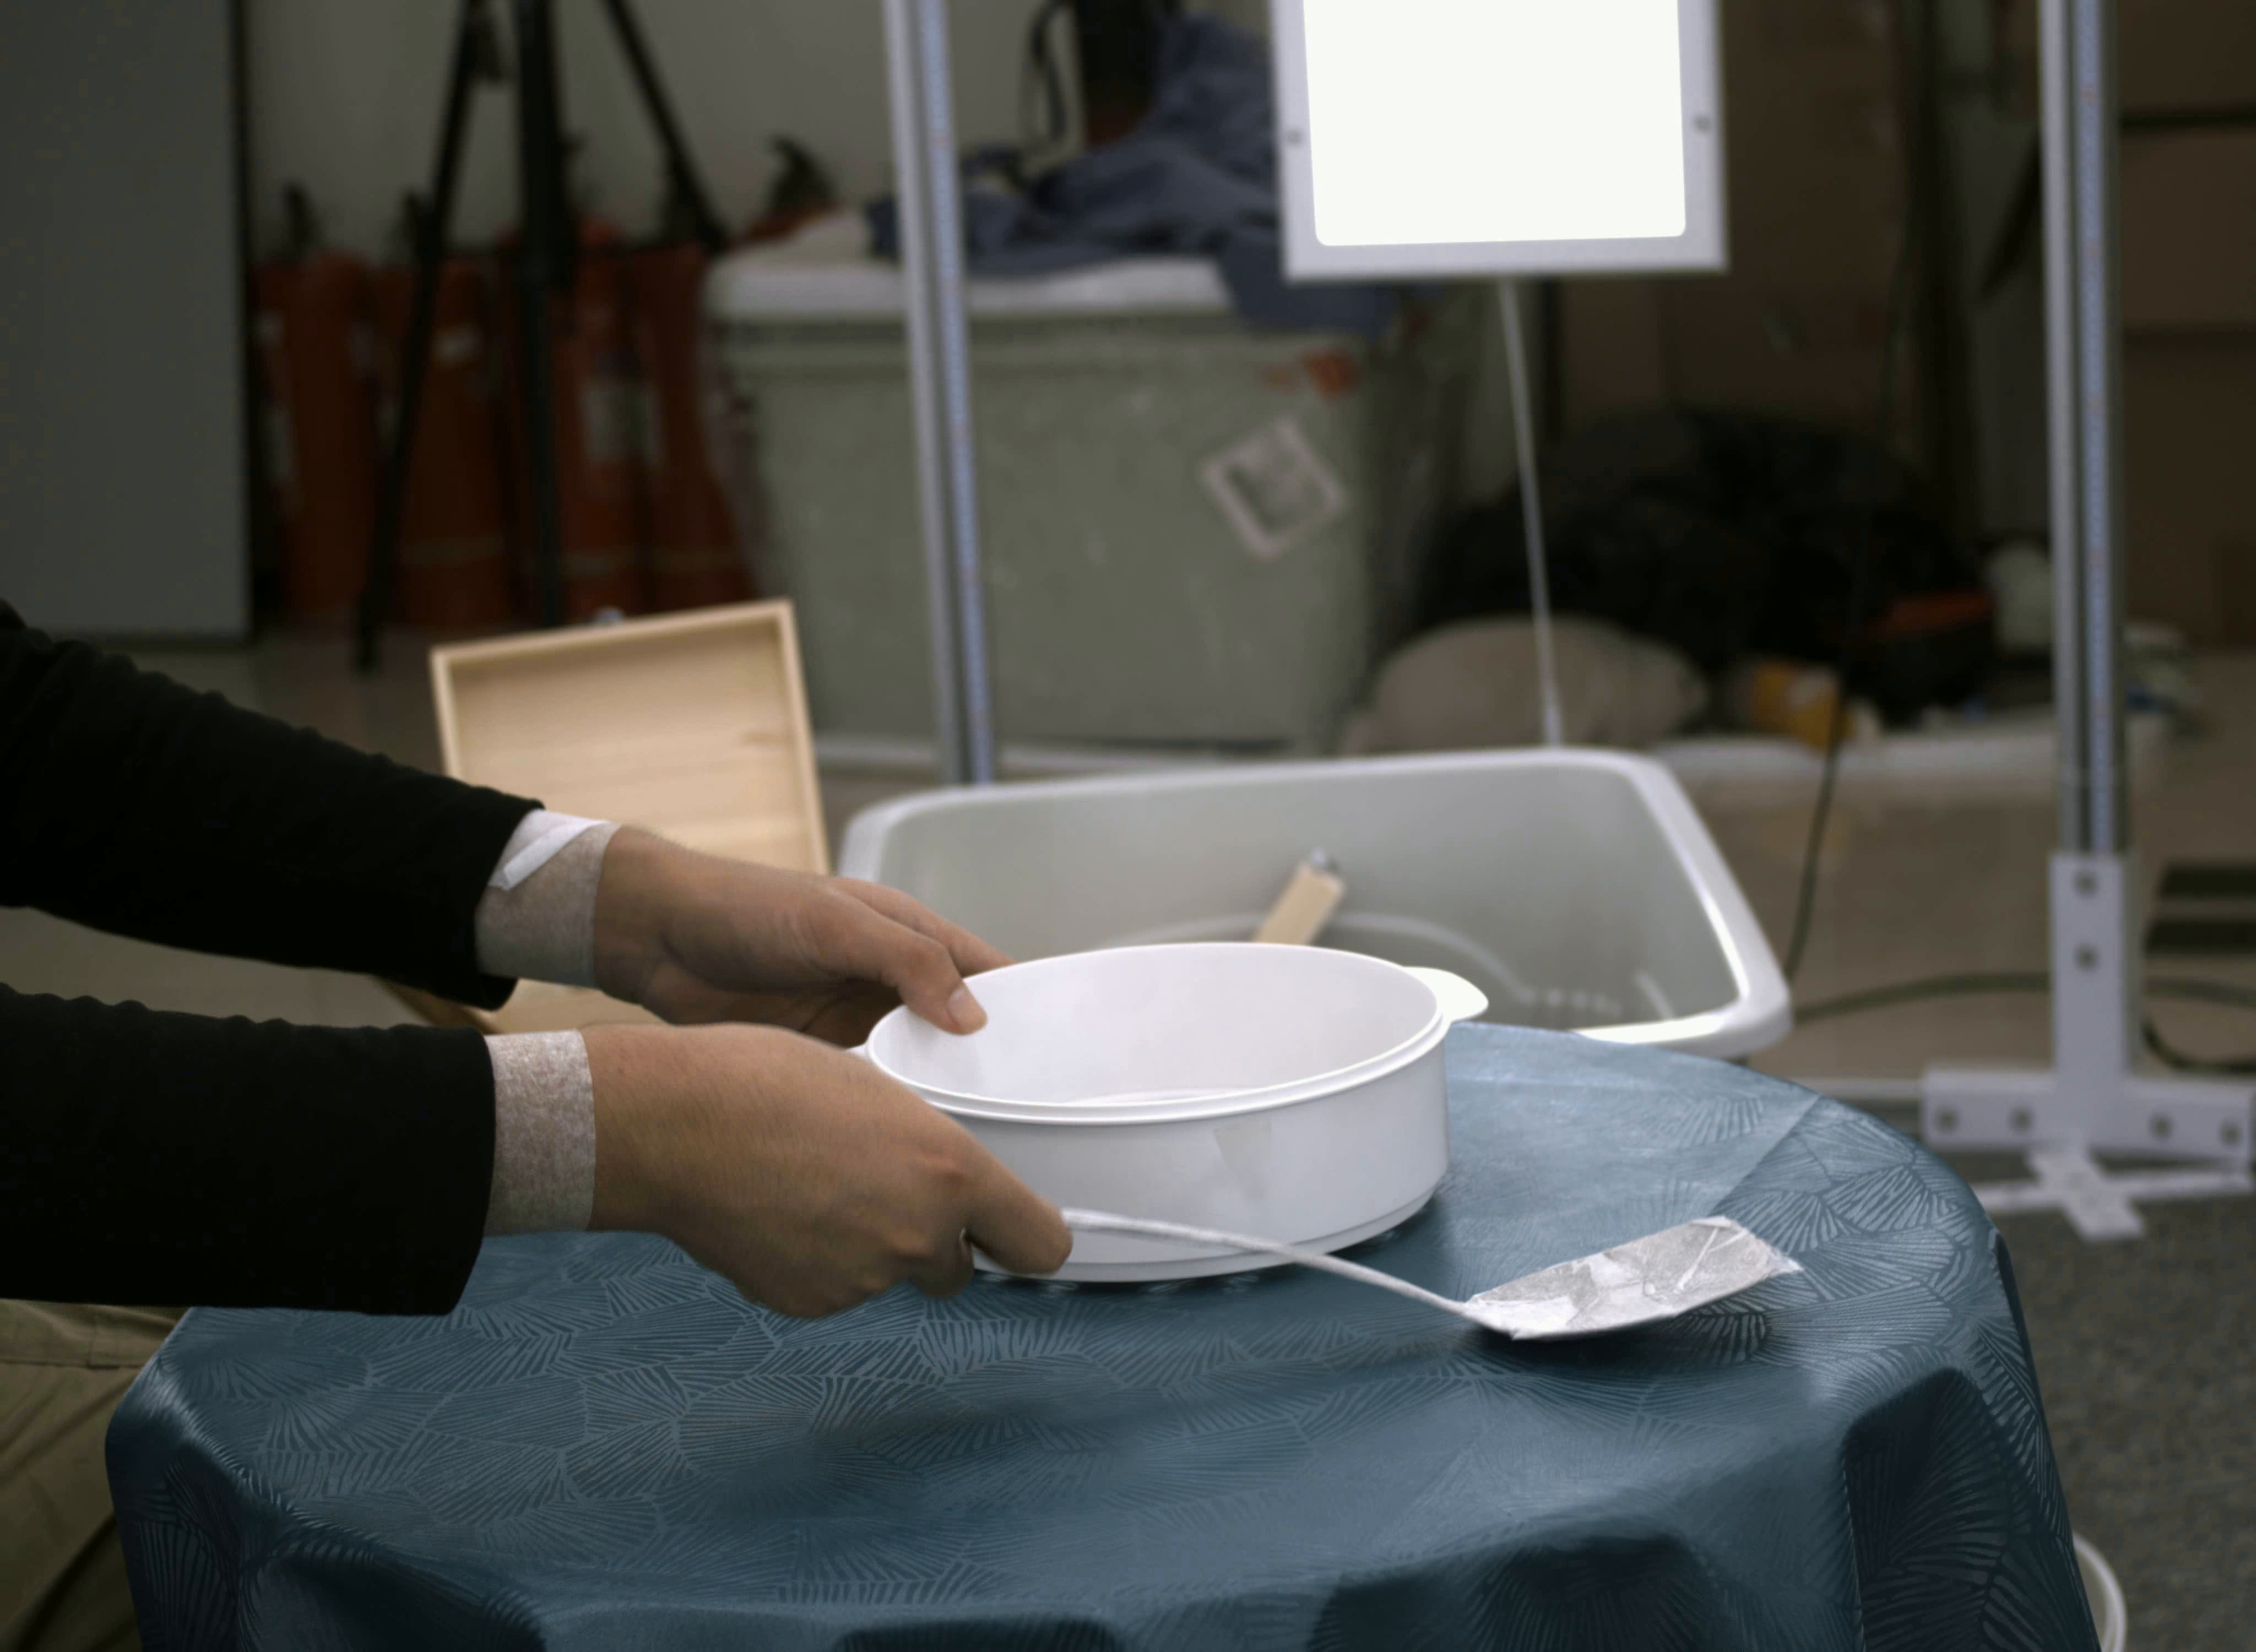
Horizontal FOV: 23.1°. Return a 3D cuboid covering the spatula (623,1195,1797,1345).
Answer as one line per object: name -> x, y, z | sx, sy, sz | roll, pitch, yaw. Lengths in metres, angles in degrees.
spatula -> 0.027, 0.126, 1.706 | 0.362, 0.045, 0.099 | 8, 9, -6

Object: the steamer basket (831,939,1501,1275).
steamer basket -> 0.016, 0.096, 1.870 | 0.228, 0.069, 0.203 | -9, 13, -11
